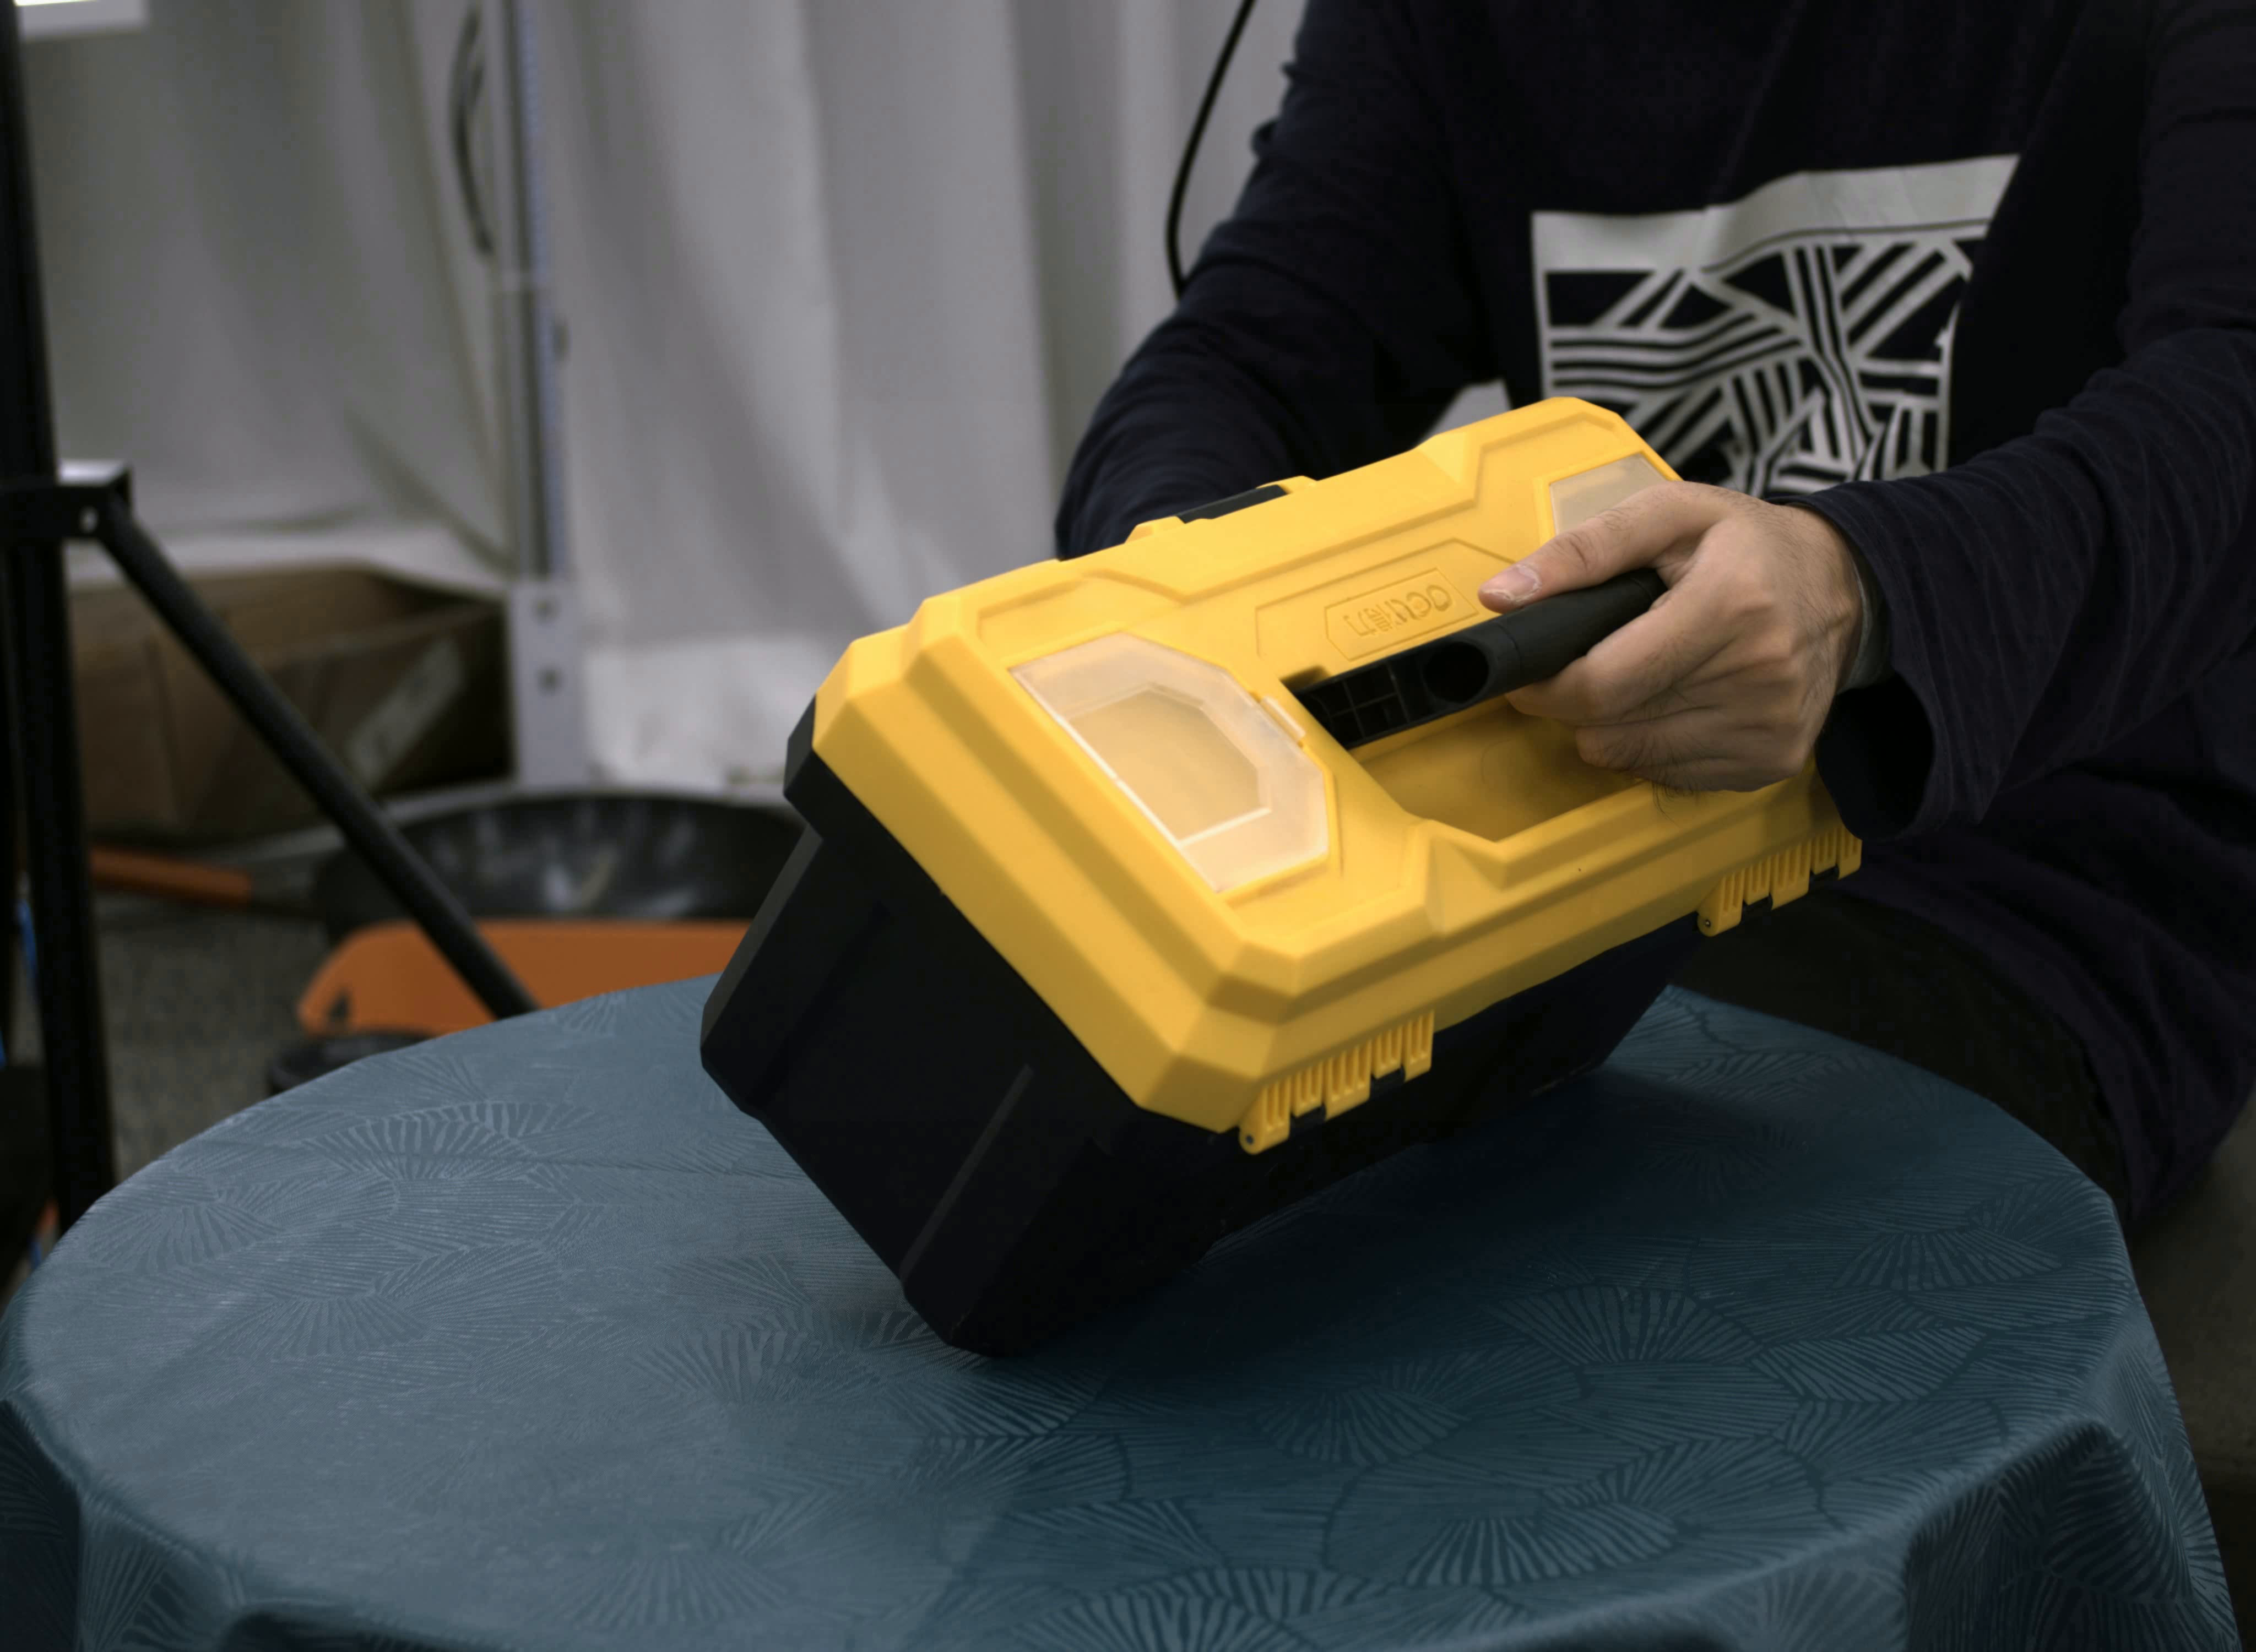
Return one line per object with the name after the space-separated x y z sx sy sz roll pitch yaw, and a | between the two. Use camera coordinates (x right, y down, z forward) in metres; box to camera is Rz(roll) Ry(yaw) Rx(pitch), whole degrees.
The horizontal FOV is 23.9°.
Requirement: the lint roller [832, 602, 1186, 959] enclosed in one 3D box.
-0.023 -0.029 1.645 0.048 0.135 0.179 44 18 -2 | lint roller

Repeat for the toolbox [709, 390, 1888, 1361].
0.049 0.008 1.517 0.184 0.174 0.344 47 38 19 | toolbox
